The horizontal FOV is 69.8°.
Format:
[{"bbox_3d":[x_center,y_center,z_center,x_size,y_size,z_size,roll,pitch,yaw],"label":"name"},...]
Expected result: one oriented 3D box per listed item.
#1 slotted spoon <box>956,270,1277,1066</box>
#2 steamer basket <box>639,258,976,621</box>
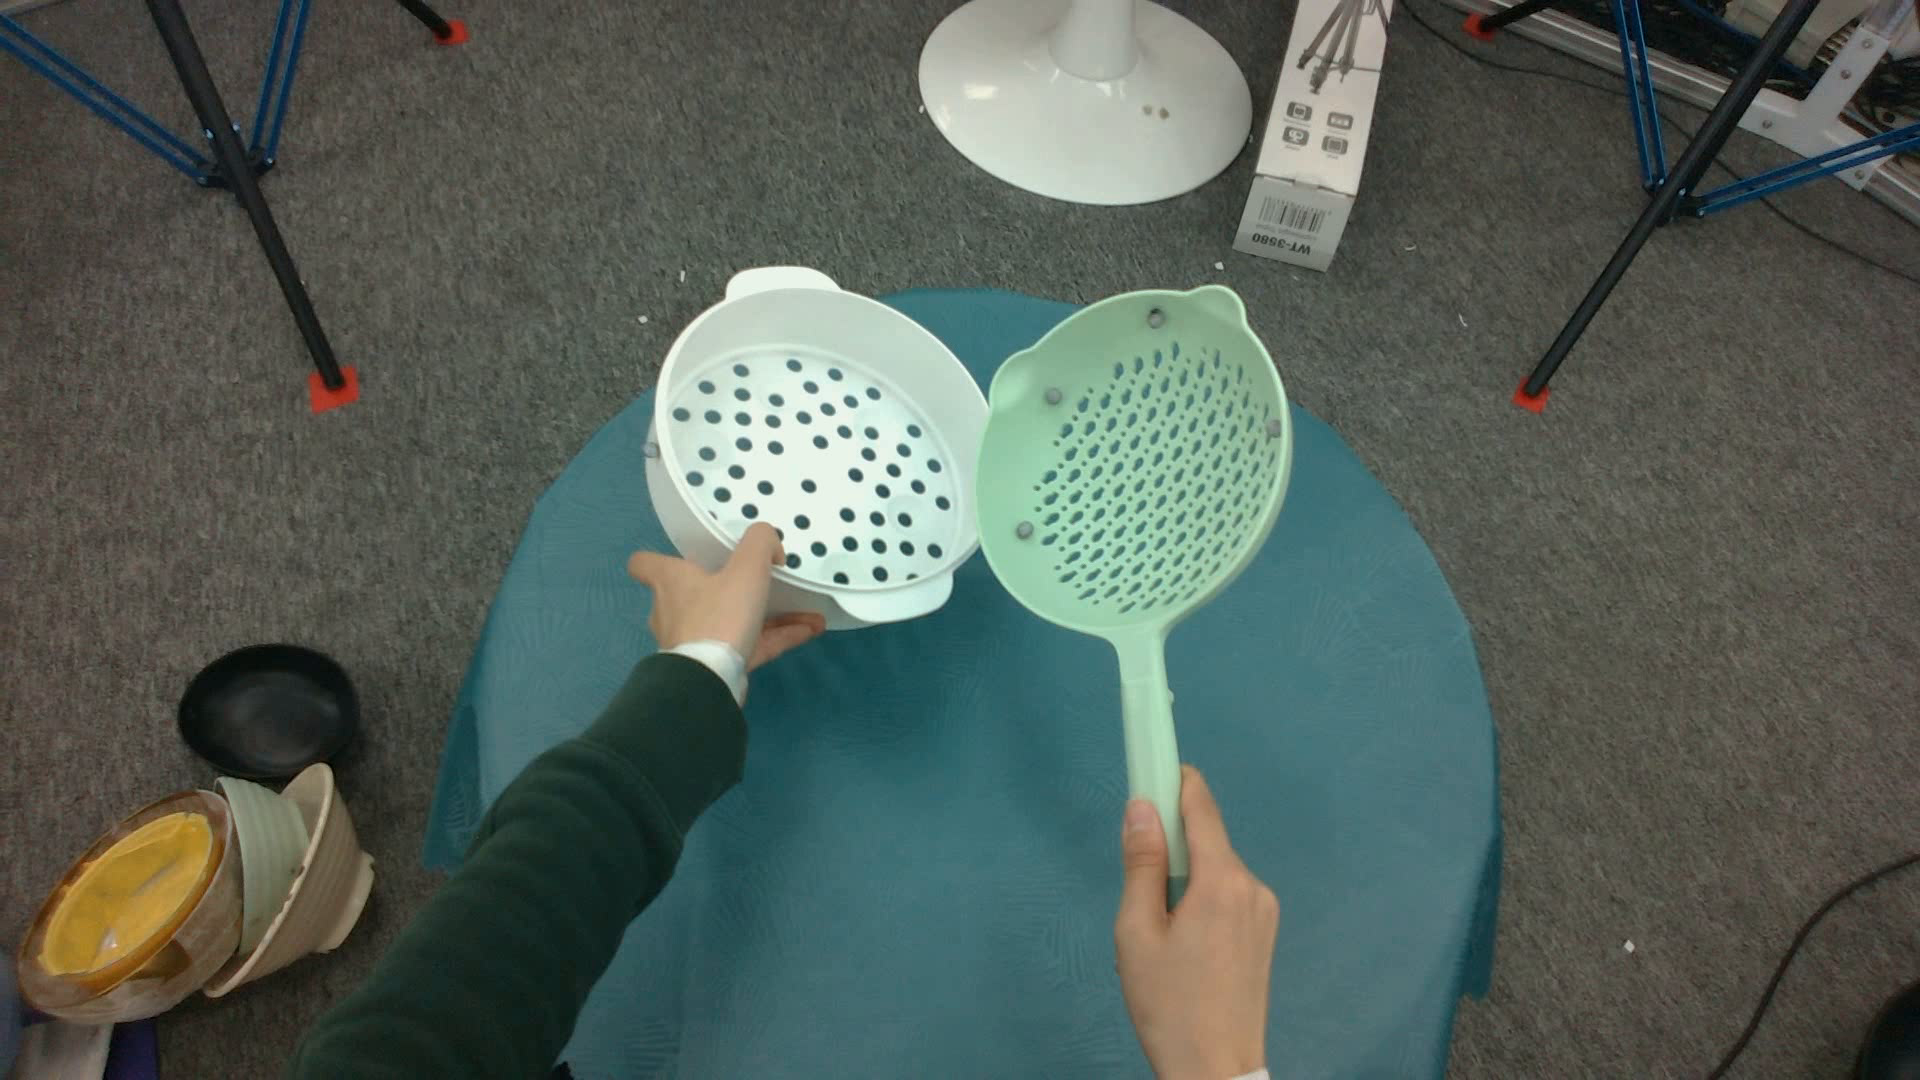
[{"bbox_3d":[0.082,0.048,0.635,0.169,0.075,0.360,-16,60,32],"label":"slotted spoon"},{"bbox_3d":[-0.082,-0.051,0.789,0.202,0.069,0.231,-11,68,-29],"label":"steamer basket"}]
